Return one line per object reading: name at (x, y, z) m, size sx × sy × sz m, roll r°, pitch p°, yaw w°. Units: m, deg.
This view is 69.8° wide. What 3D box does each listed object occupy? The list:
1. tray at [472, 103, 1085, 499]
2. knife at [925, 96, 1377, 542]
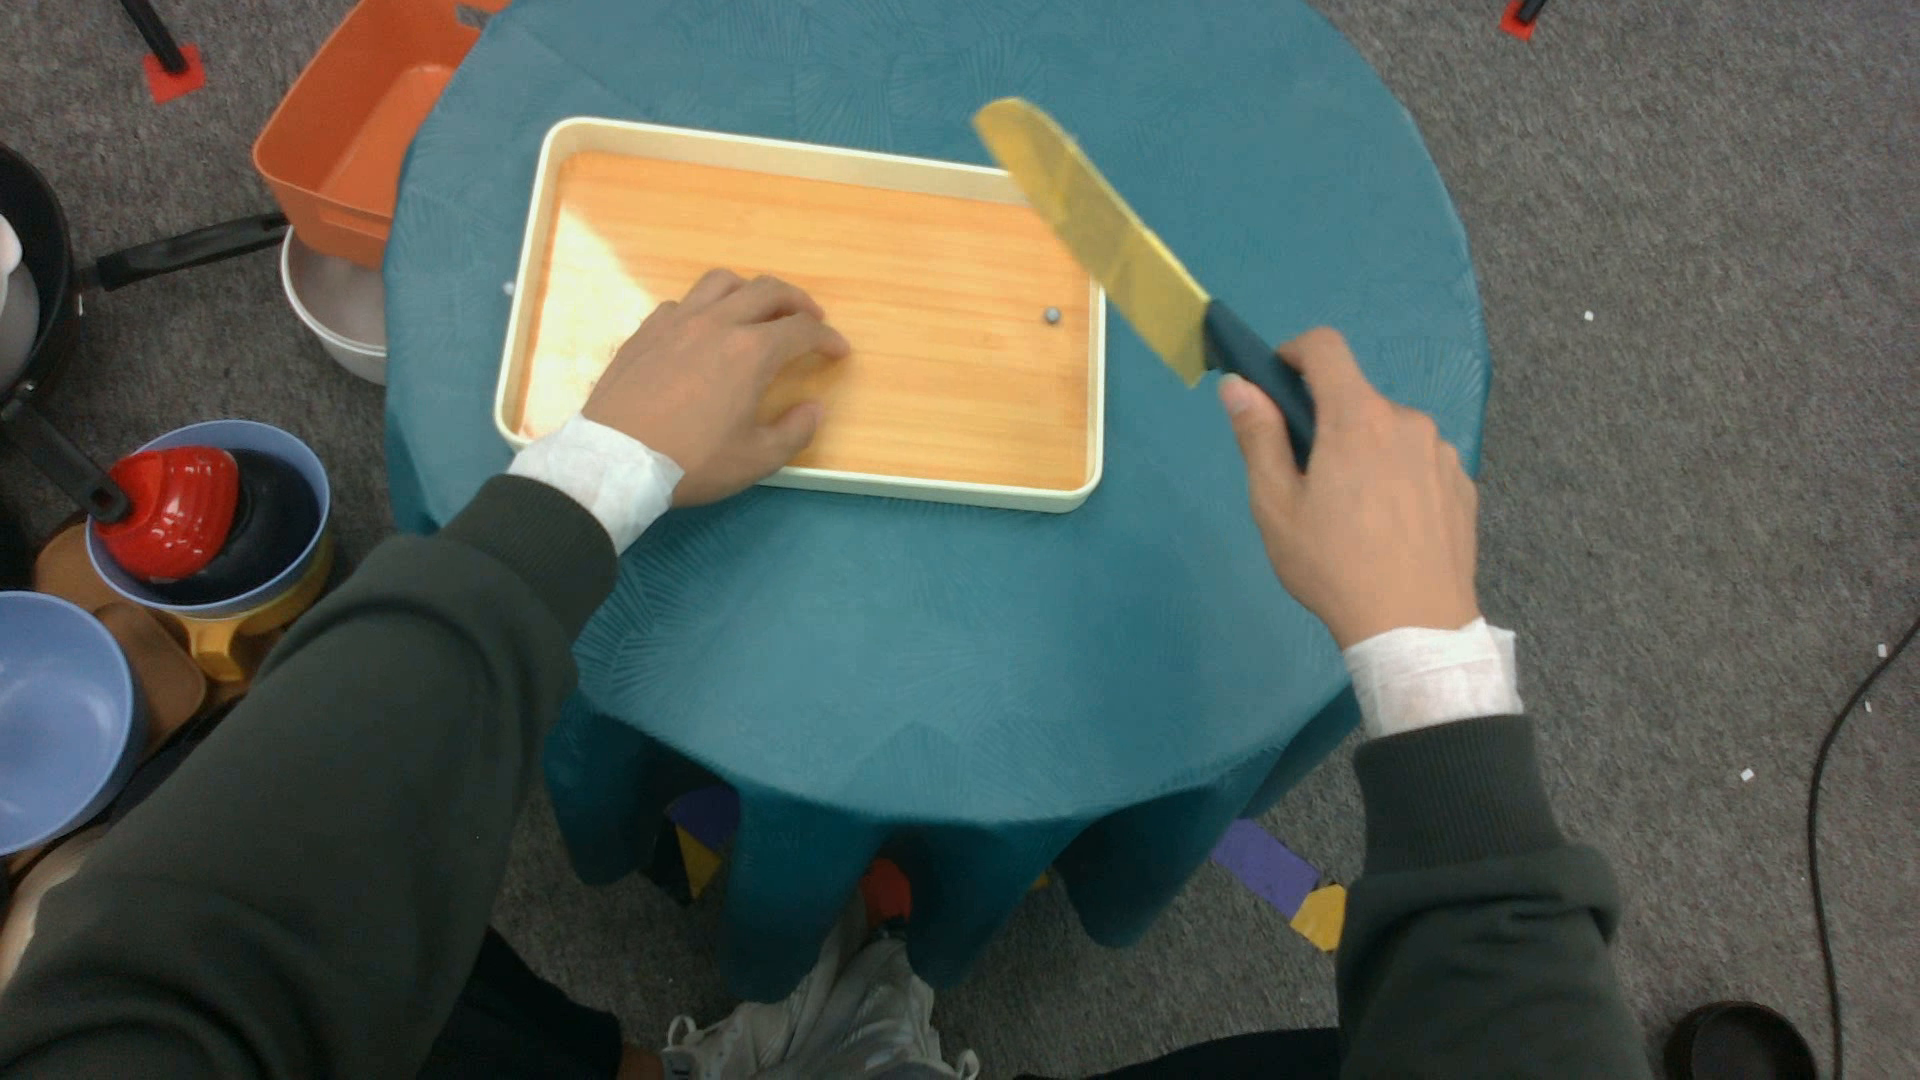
tray at (-0.085, -0.124, 0.716) m, size 0.300 × 0.027 × 0.192 m, roll 5°, pitch 71°, yaw -7°
knife at (0.078, -0.104, 0.626) m, size 0.027 × 0.081 × 0.290 m, roll -39°, pitch 76°, yaw -12°
